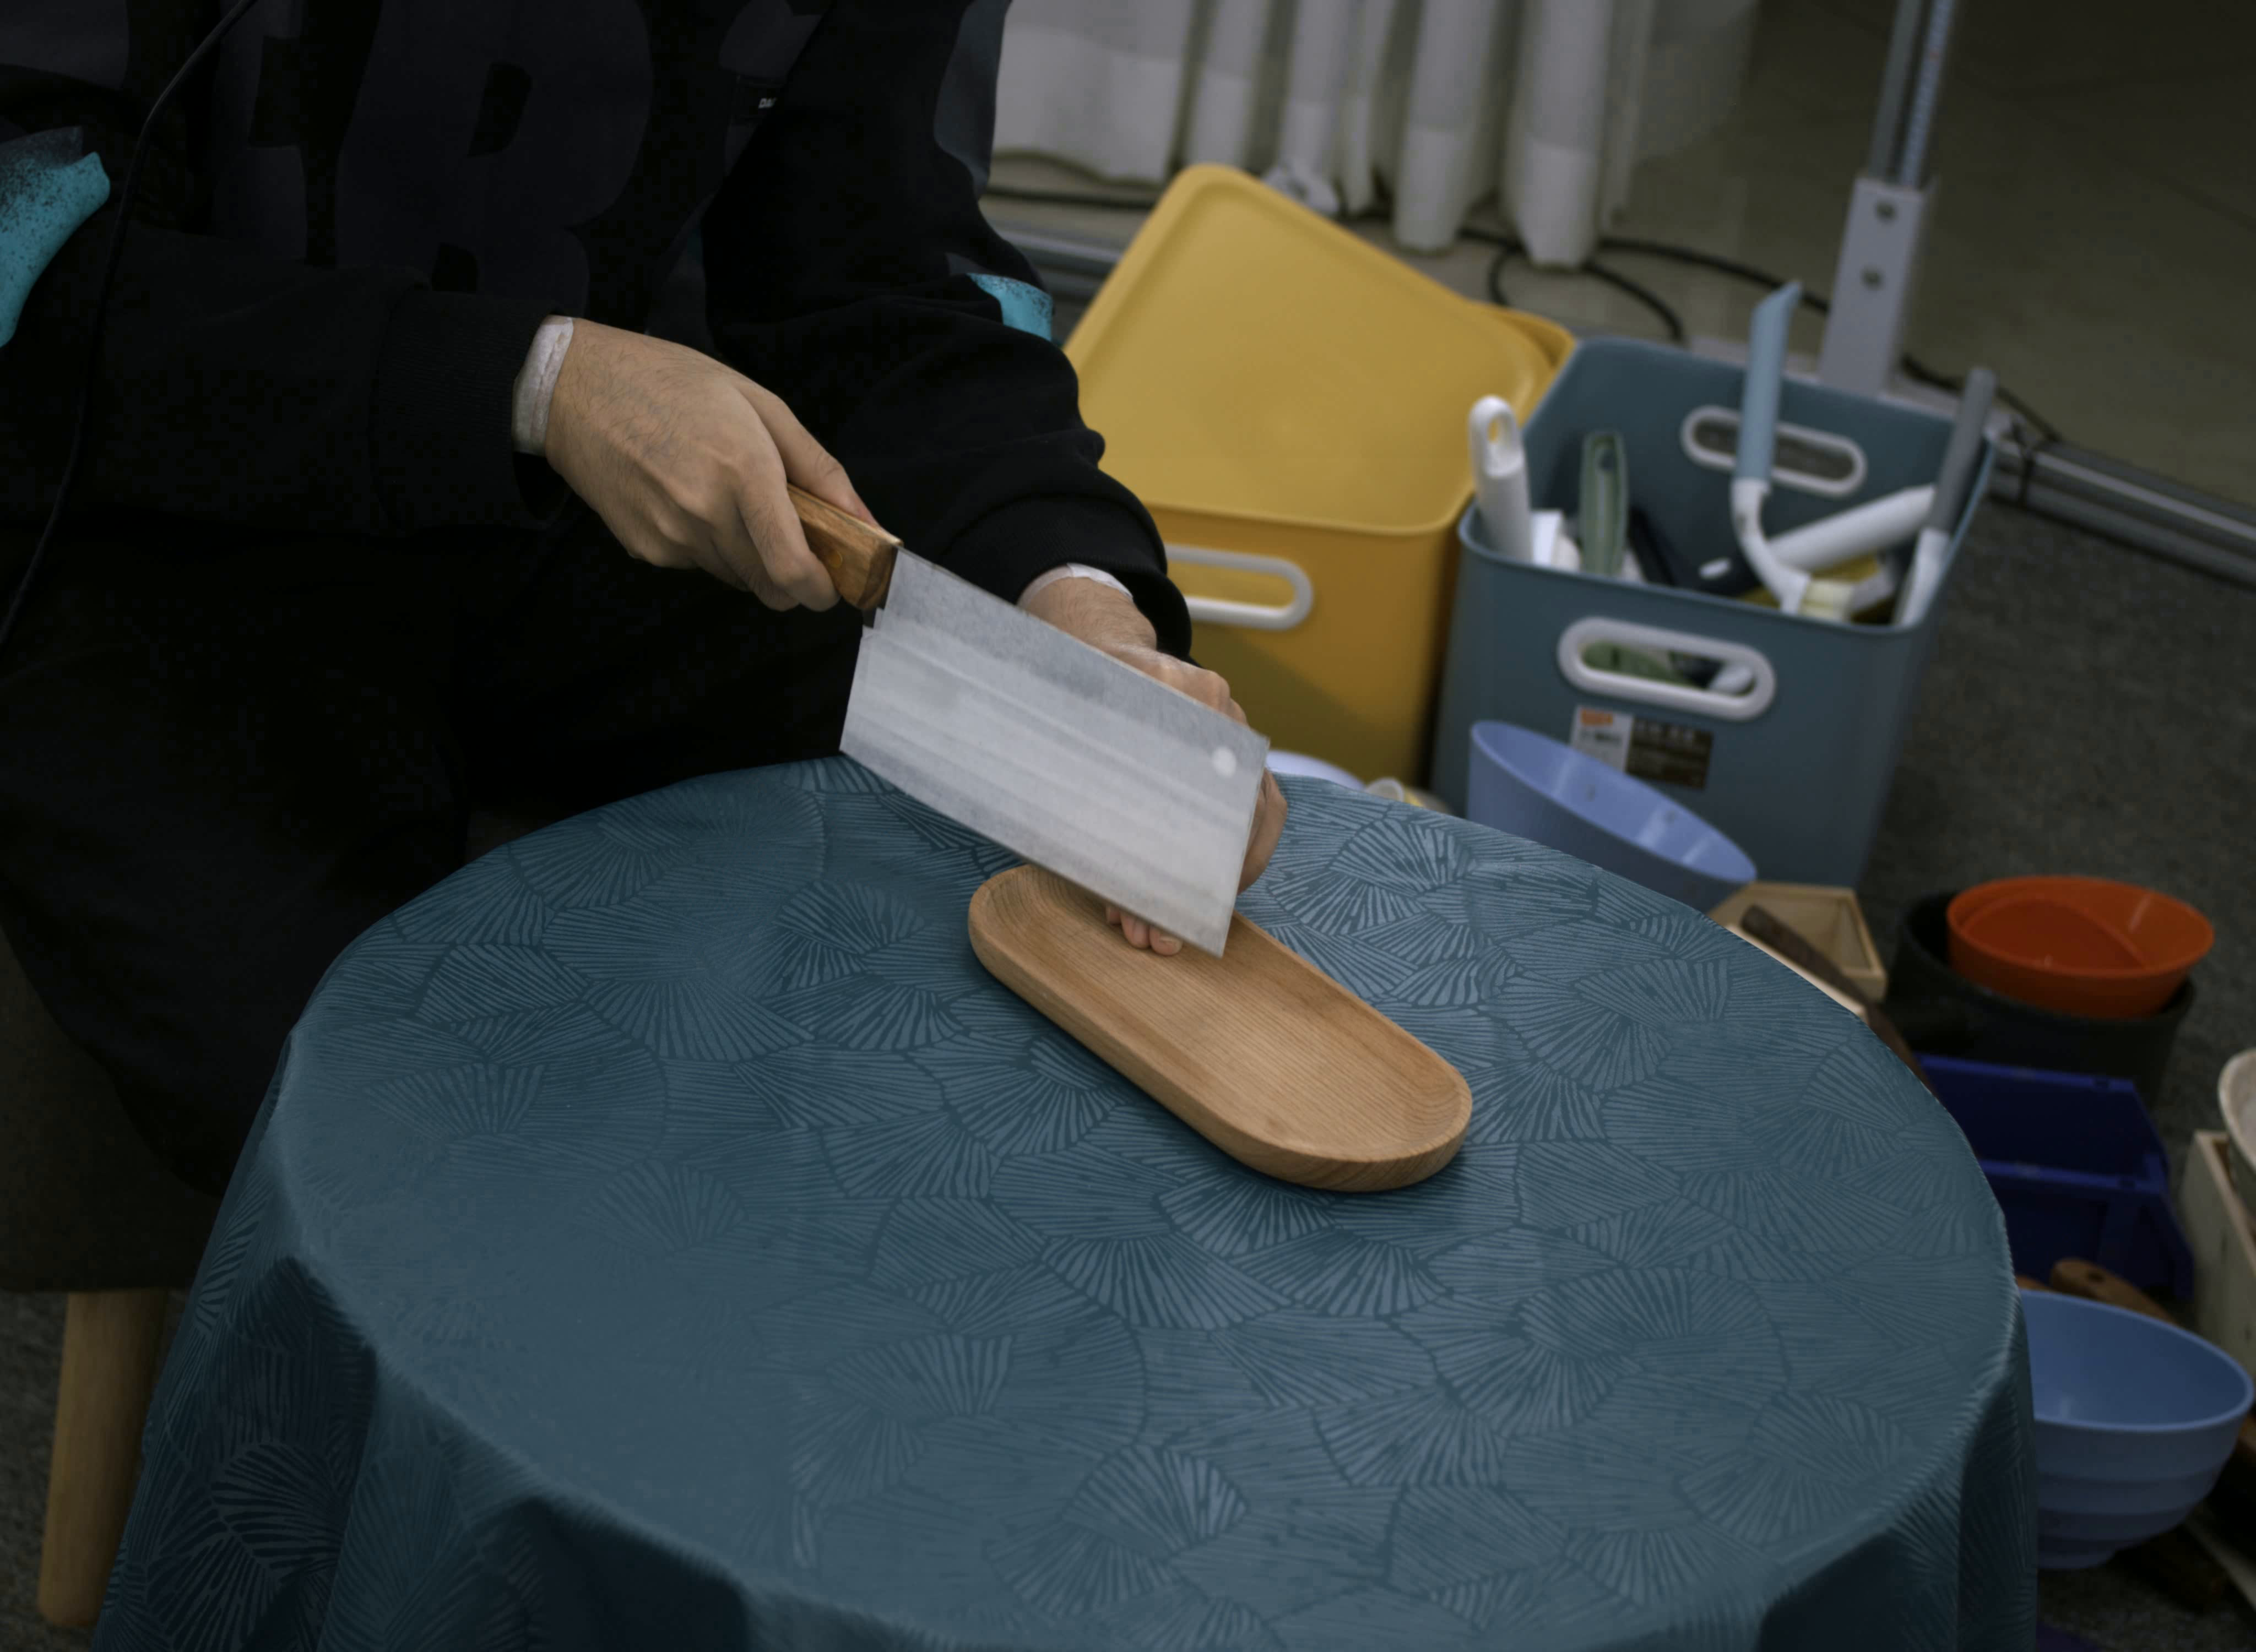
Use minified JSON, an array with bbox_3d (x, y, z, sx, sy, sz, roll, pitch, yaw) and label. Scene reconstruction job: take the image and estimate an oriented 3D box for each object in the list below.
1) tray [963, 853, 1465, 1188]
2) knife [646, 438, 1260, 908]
[{"bbox_3d":[0.028,0.068,1.900,0.101,0.020,0.233,-12,31,-35],"label":"tray"},{"bbox_3d":[-0.071,-0.055,1.972,0.308,0.092,0.021,28,30,33],"label":"knife"}]
